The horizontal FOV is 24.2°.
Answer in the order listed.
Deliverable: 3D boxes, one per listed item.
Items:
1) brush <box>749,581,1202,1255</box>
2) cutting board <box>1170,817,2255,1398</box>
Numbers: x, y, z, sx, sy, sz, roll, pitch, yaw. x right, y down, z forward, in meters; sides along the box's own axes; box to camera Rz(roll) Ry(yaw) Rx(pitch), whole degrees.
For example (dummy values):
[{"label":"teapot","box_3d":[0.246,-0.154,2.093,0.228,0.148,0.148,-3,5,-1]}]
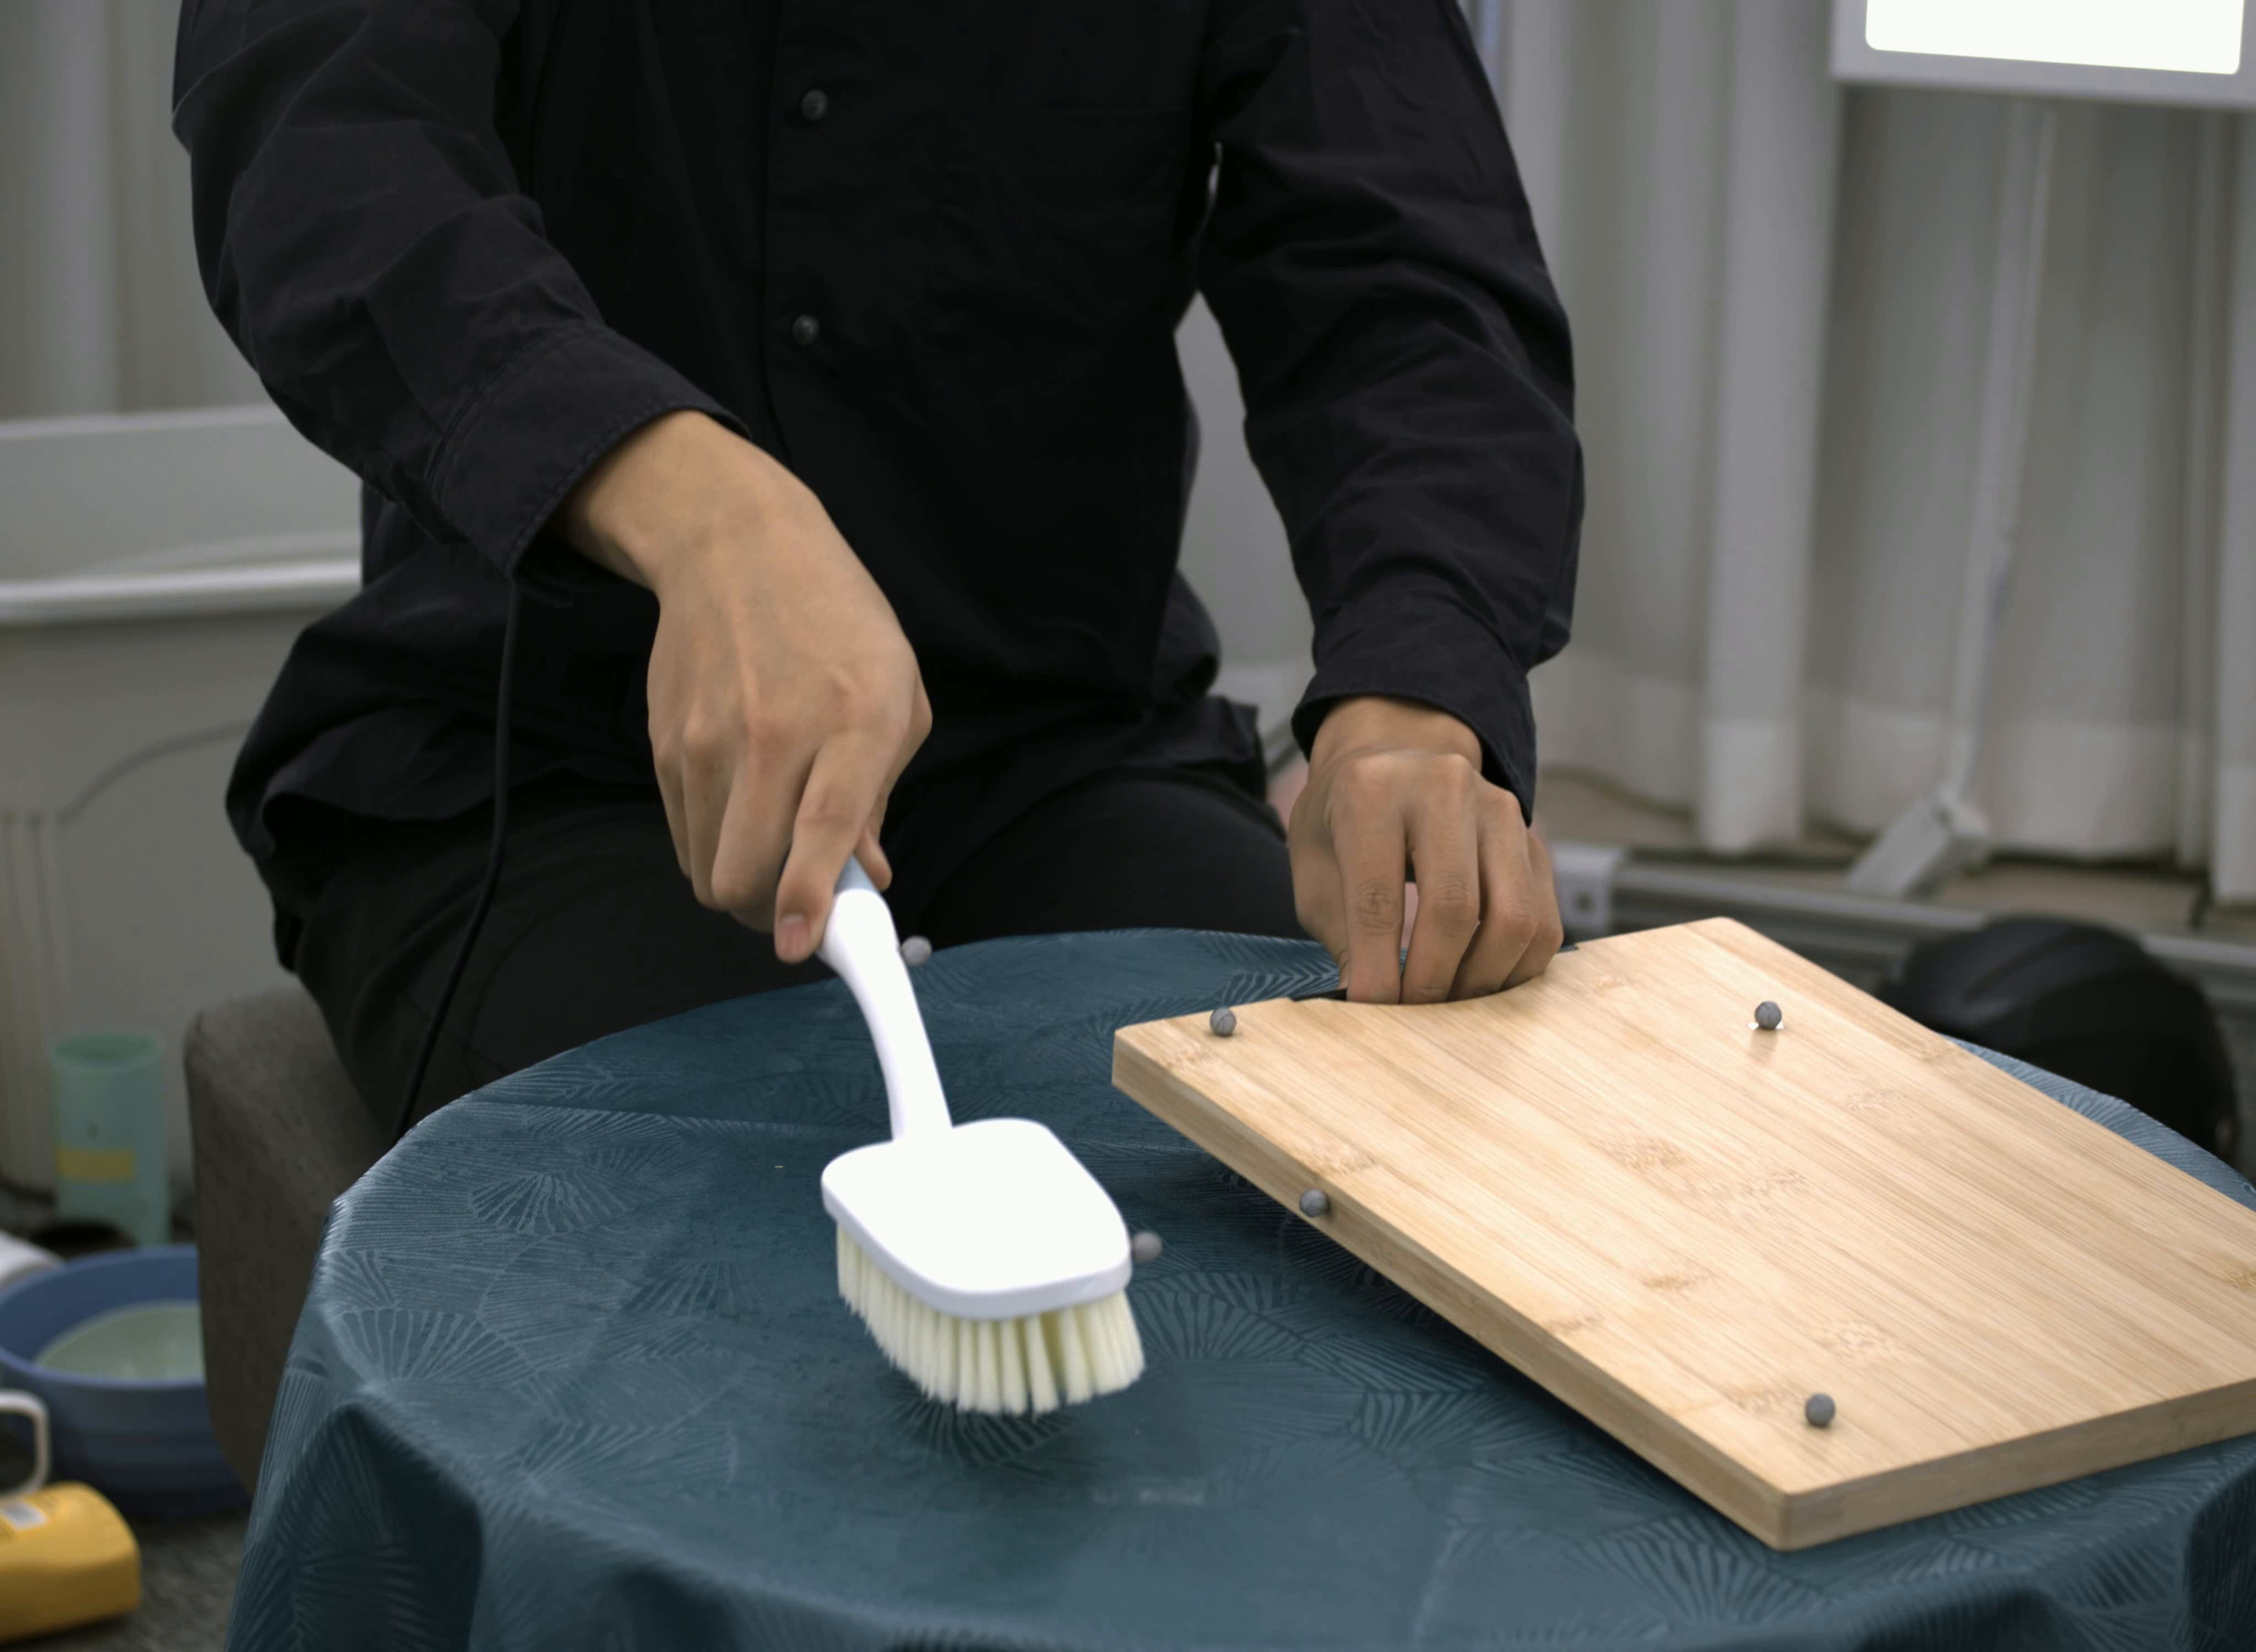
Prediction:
[{"label":"brush","box_3d":[-0.050,0.036,1.543,0.084,0.085,0.321,26,17,-34]},{"label":"cutting board","box_3d":[0.204,0.076,1.589,0.252,0.024,0.344,-9,24,-33]}]
